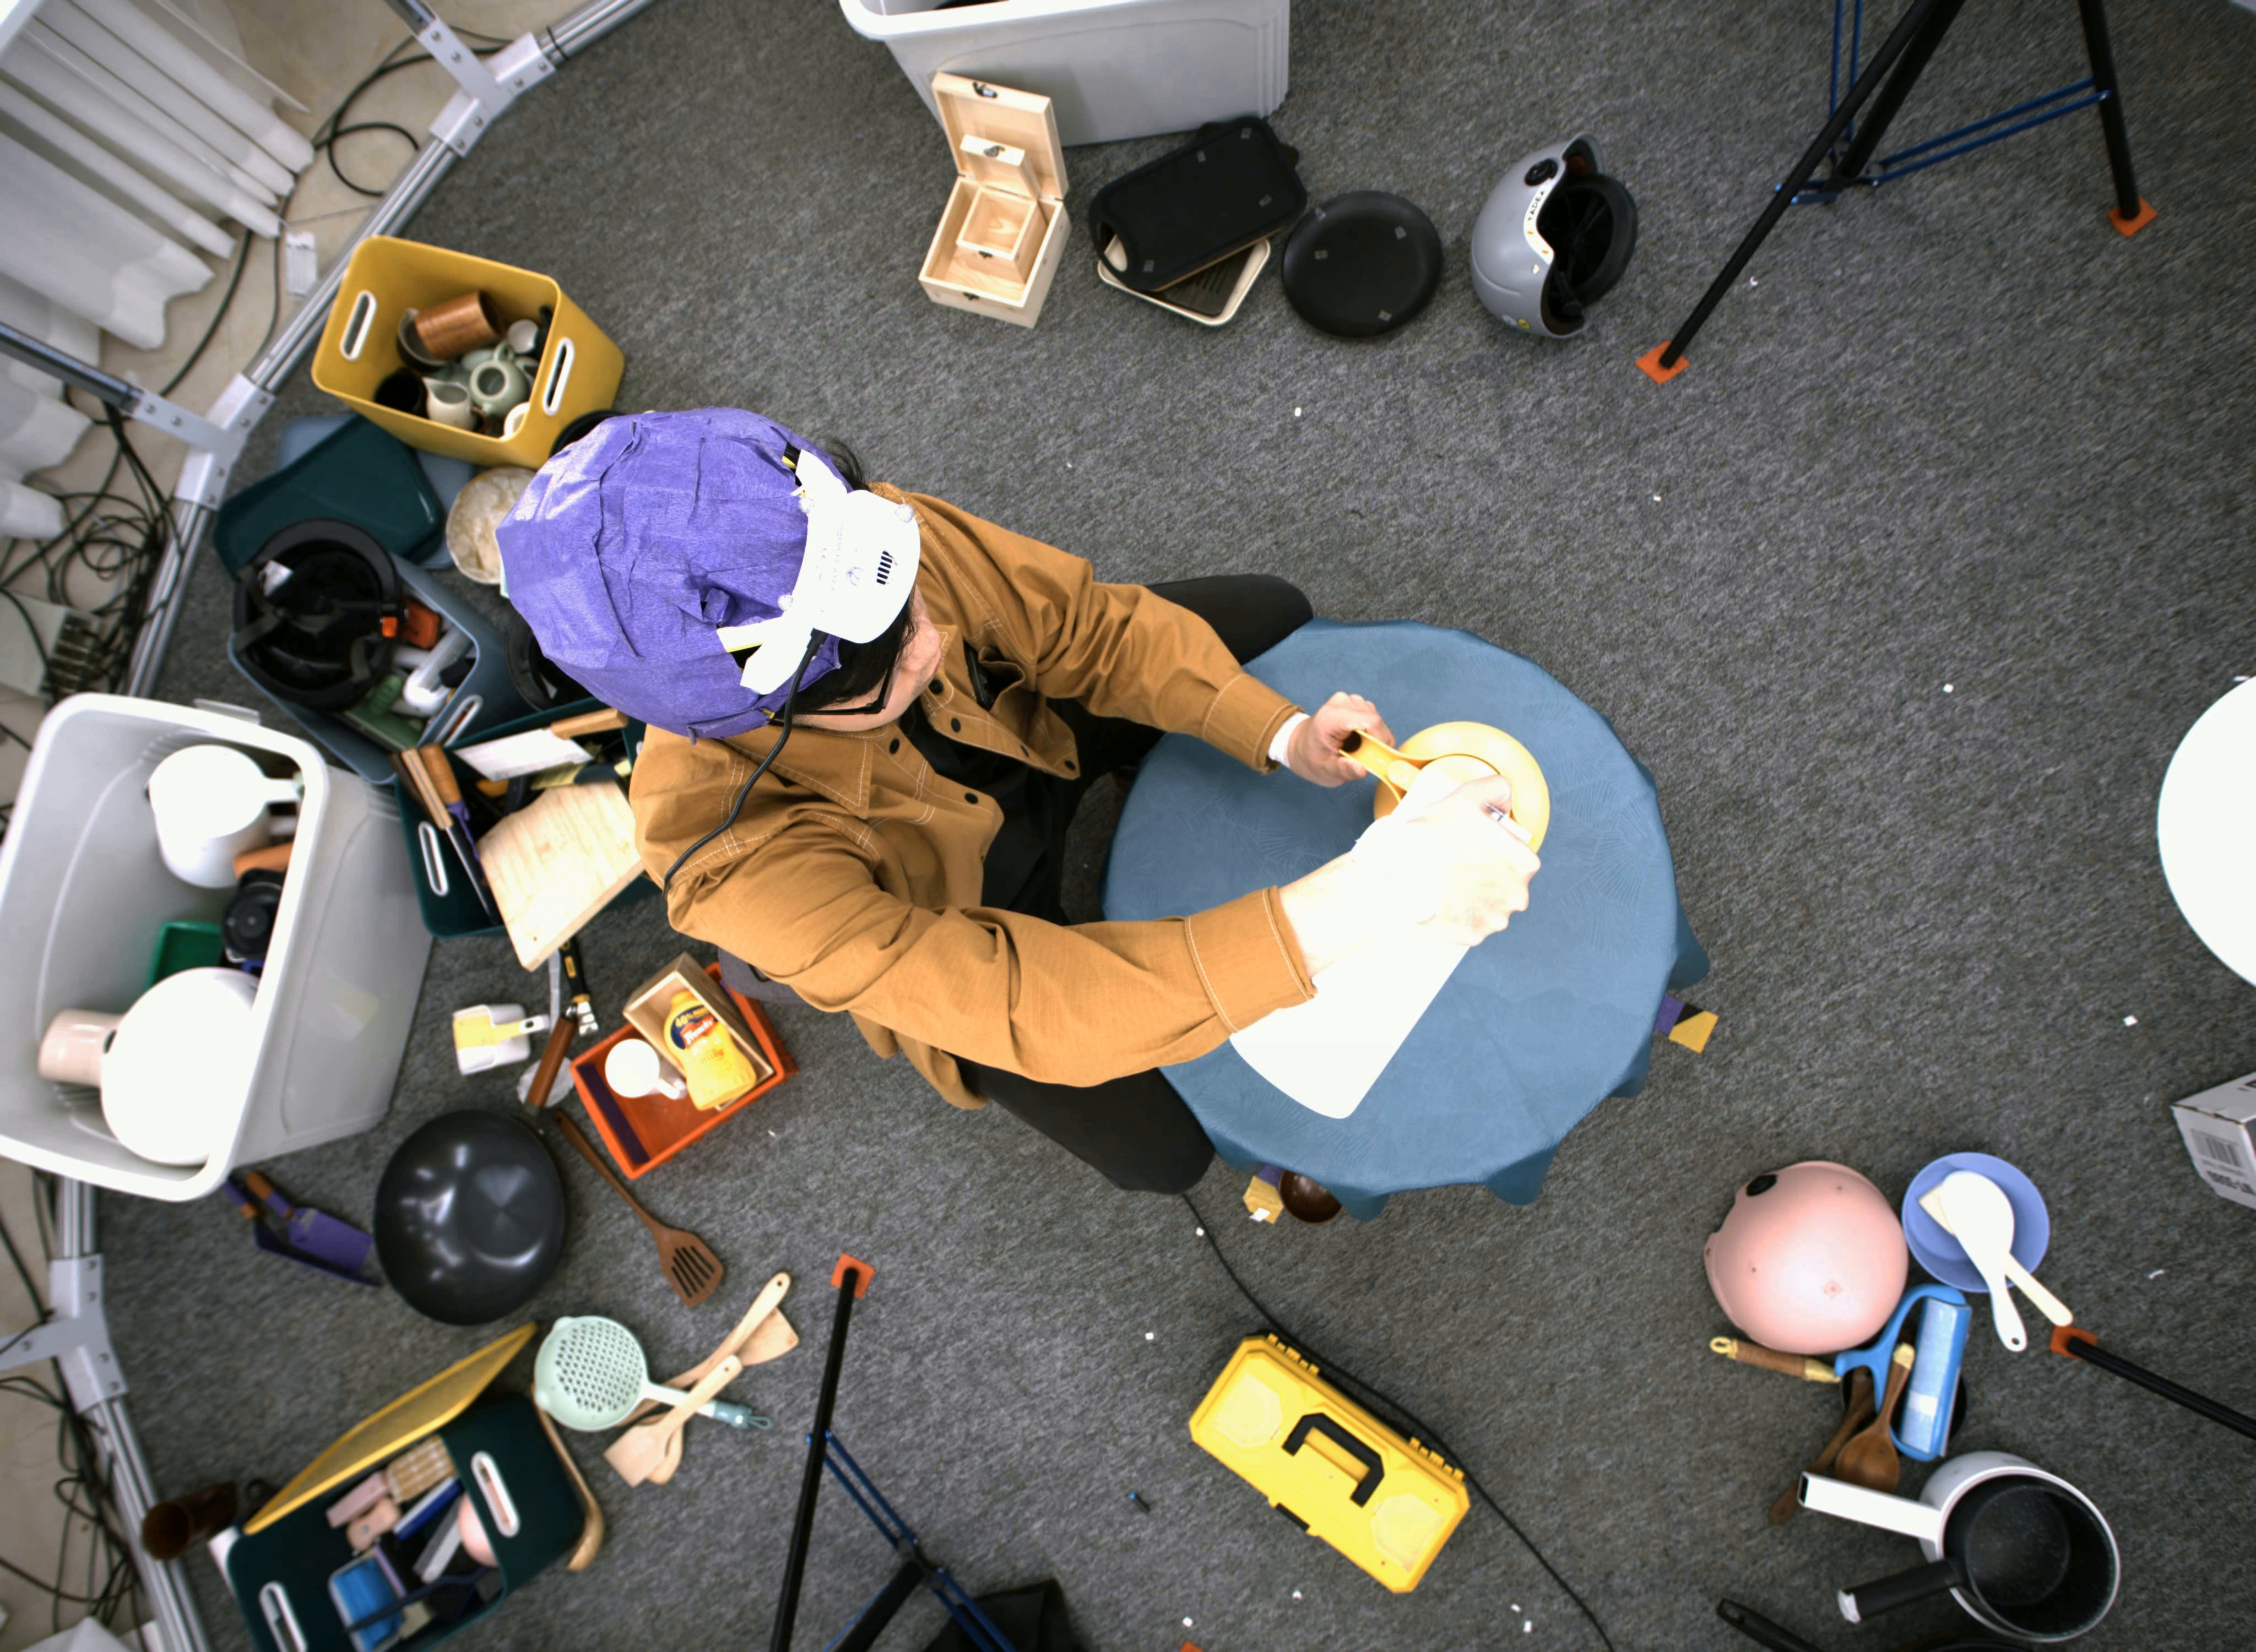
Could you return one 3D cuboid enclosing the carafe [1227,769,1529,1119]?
[{"bbox_3d":[0.196,0.093,1.063,0.124,0.171,0.271,36,98,-2],"label":"carafe"}]

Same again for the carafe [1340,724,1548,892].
[{"bbox_3d":[0.295,-0.028,1.290,0.202,0.259,0.164,36,98,10],"label":"carafe"}]
